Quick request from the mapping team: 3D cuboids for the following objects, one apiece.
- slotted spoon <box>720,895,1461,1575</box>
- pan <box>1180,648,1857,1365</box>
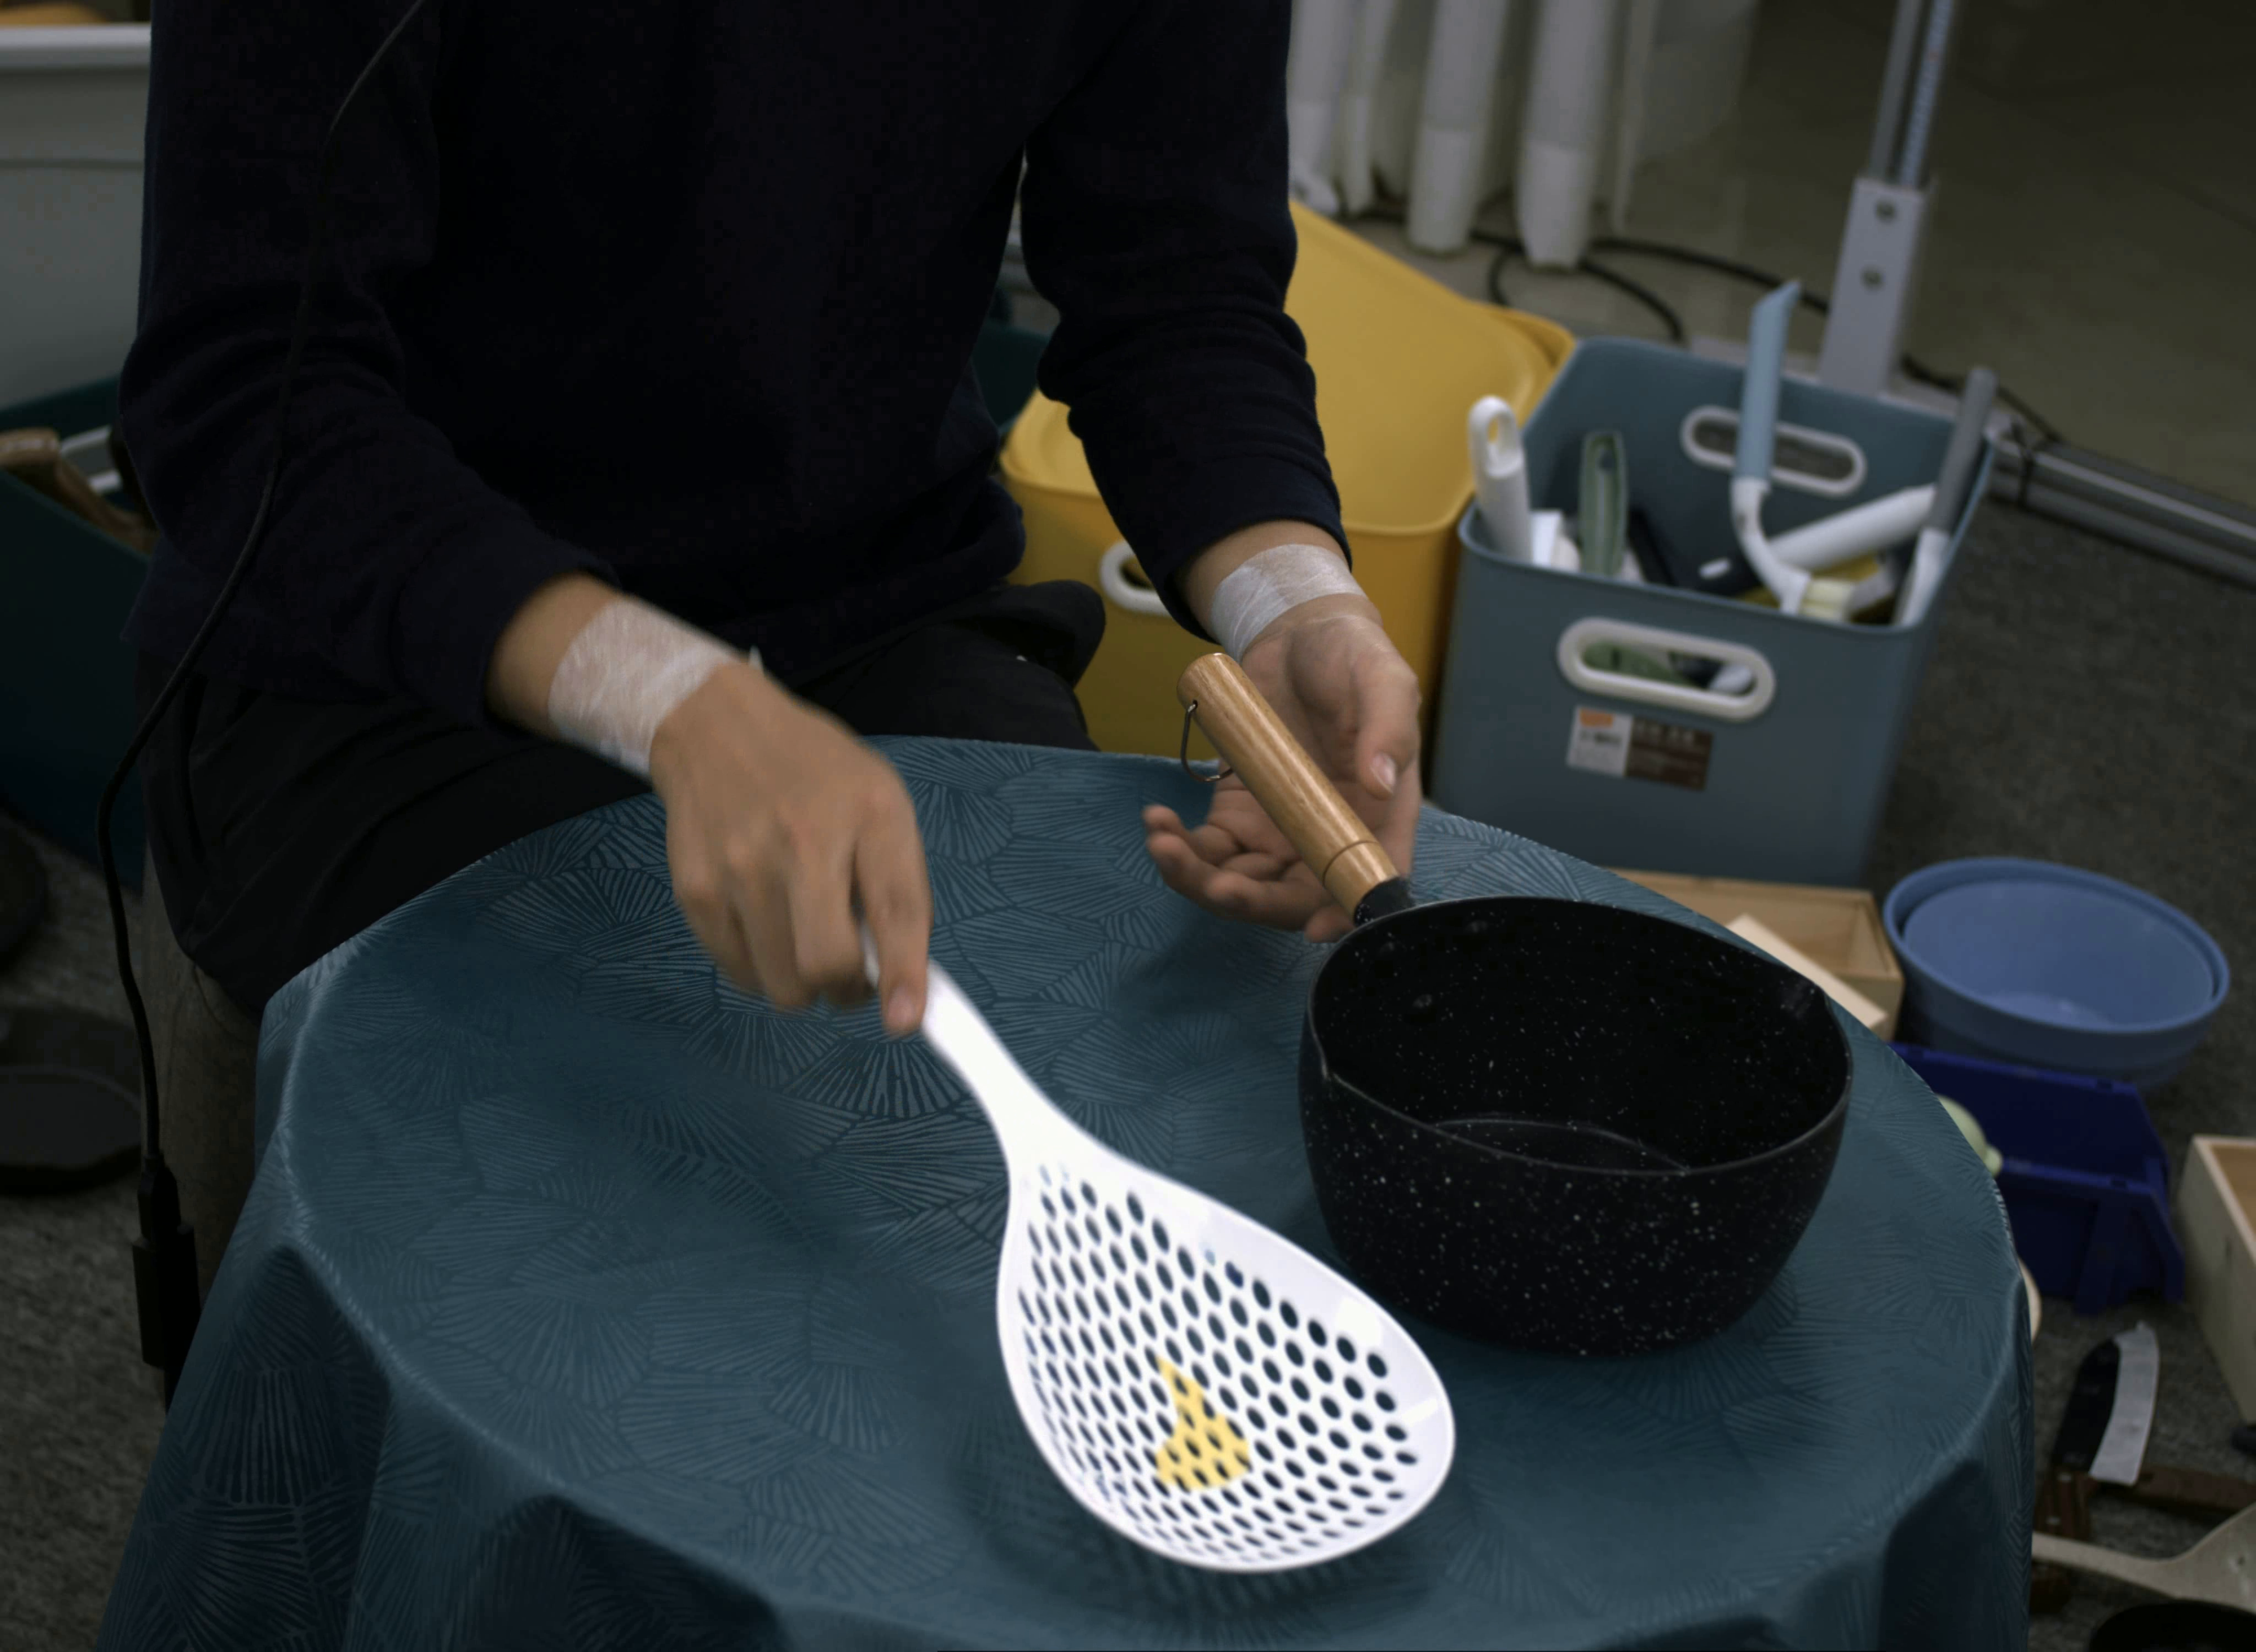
[{"bbox_3d":[-0.029,0.119,1.697,0.136,0.050,0.351,-19,51,-29],"label":"slotted spoon"},{"bbox_3d":[0.106,0.059,1.835,0.206,0.108,0.346,-11,33,-30],"label":"pan"}]
